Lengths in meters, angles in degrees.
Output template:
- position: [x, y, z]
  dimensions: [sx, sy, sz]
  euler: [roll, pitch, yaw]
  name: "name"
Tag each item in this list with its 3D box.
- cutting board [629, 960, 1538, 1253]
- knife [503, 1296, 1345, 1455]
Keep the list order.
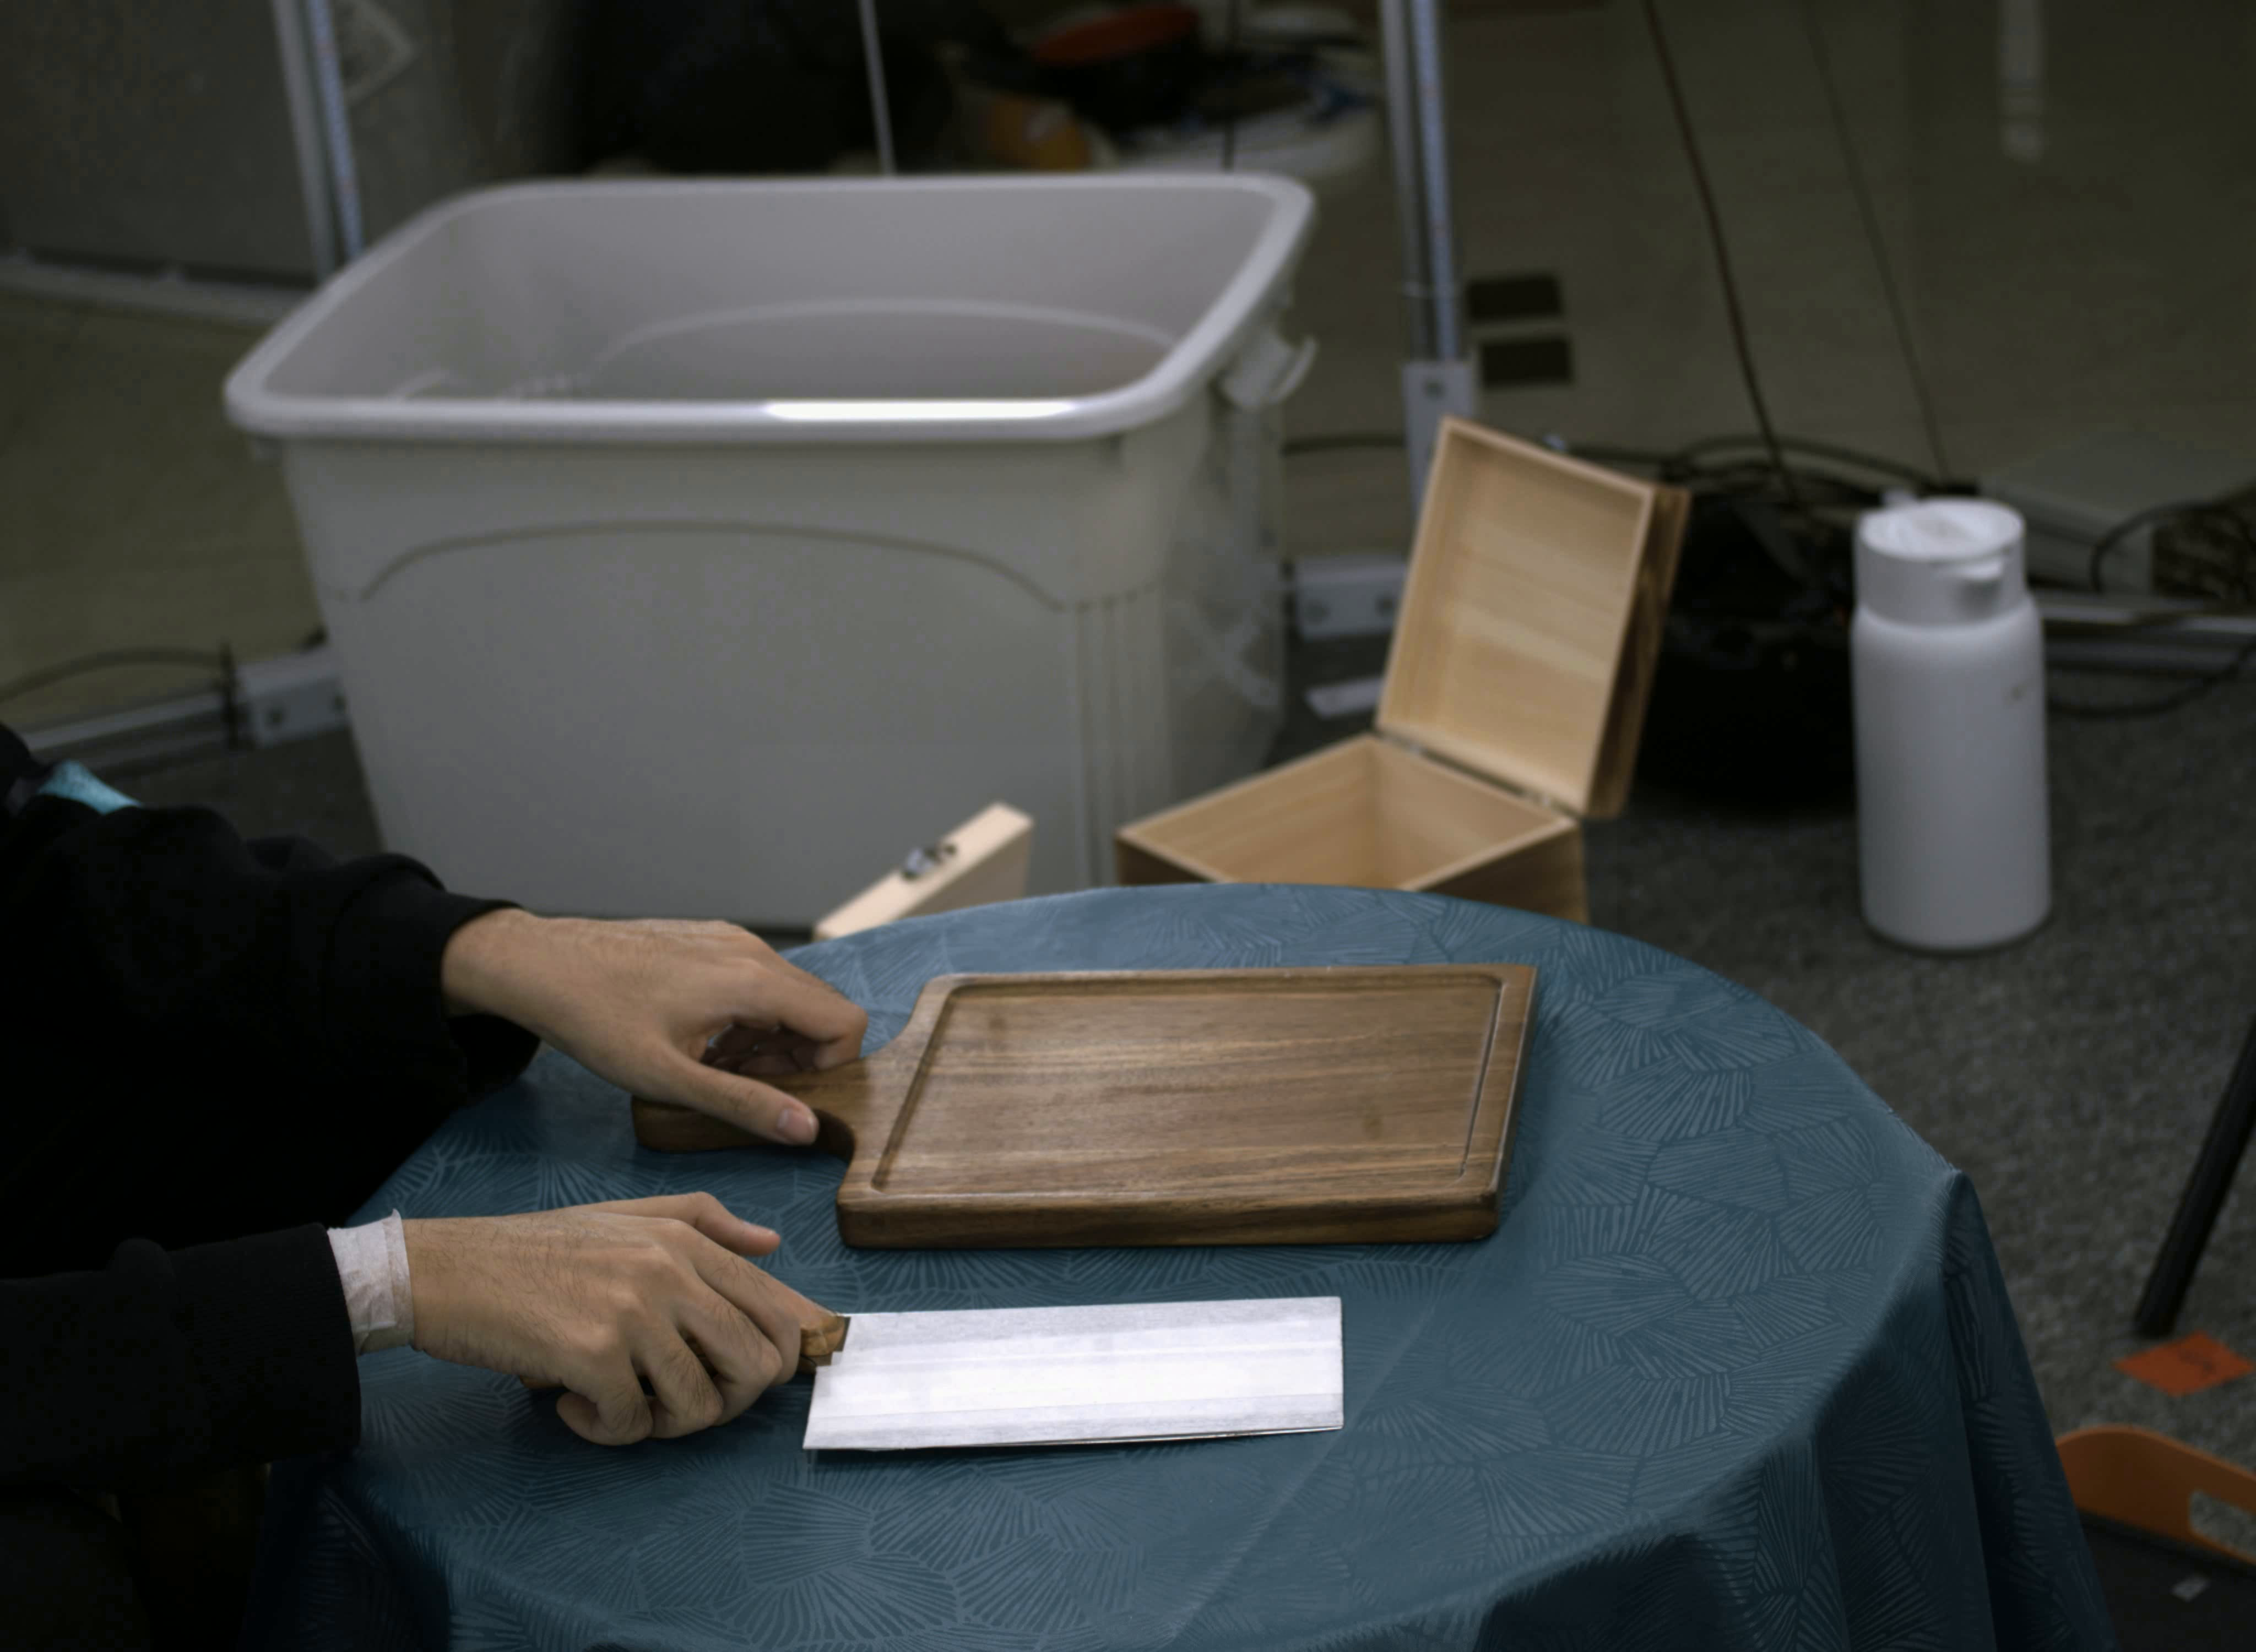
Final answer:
- position: [-0.021, 0.108, 2.194]
  dimensions: [0.351, 0.023, 0.198]
  euler: [-2, 25, 10]
  name: "cutting board"
- position: [-0.075, 0.196, 2.025]
  dimensions: [0.305, 0.021, 0.091]
  euler: [-2, 27, 3]
  name: "knife"
